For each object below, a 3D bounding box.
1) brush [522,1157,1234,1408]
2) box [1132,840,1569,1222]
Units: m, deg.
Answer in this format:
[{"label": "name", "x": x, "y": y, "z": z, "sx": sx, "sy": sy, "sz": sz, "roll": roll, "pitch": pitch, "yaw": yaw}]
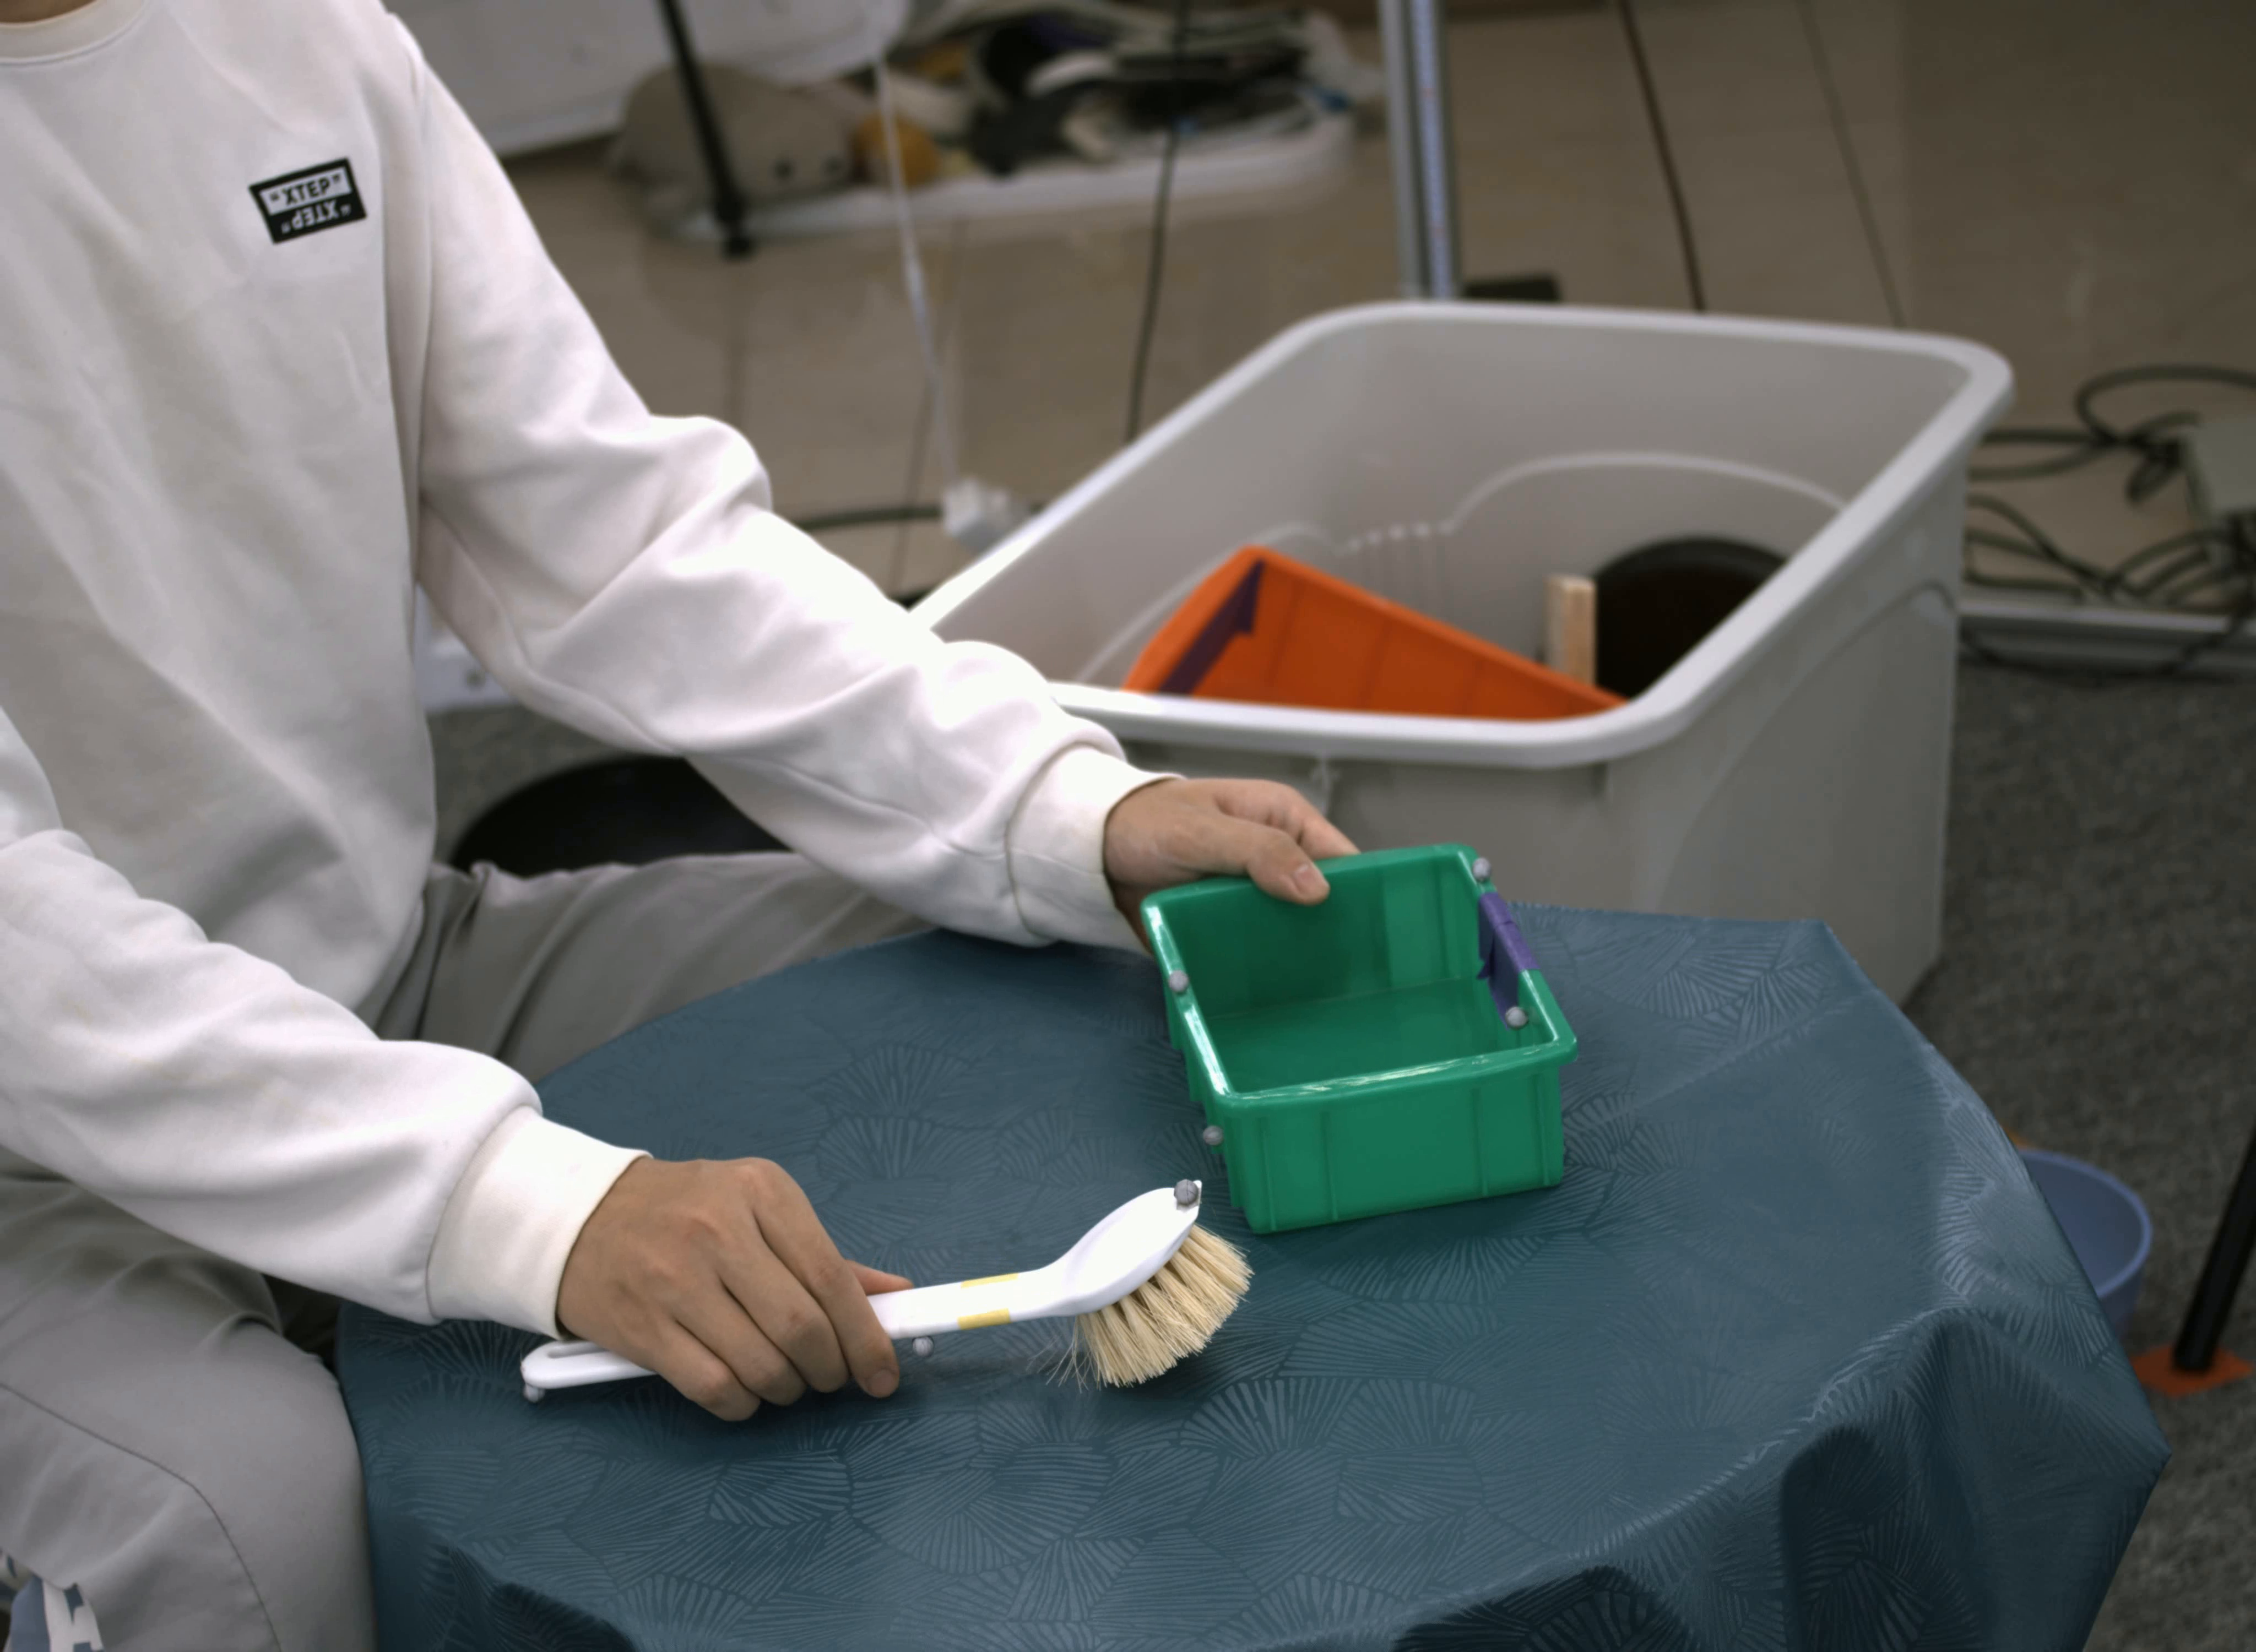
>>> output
[{"label": "brush", "x": -0.087, "y": 0.185, "z": 2.041, "sx": 0.267, "sy": 0.056, "sz": 0.068, "roll": -19, "pitch": 12, "yaw": 11}, {"label": "box", "x": 0.085, "y": 0.078, "z": 2.179, "sx": 0.138, "sy": 0.066, "sz": 0.208, "roll": -9, "pitch": 22, "yaw": -6}]
